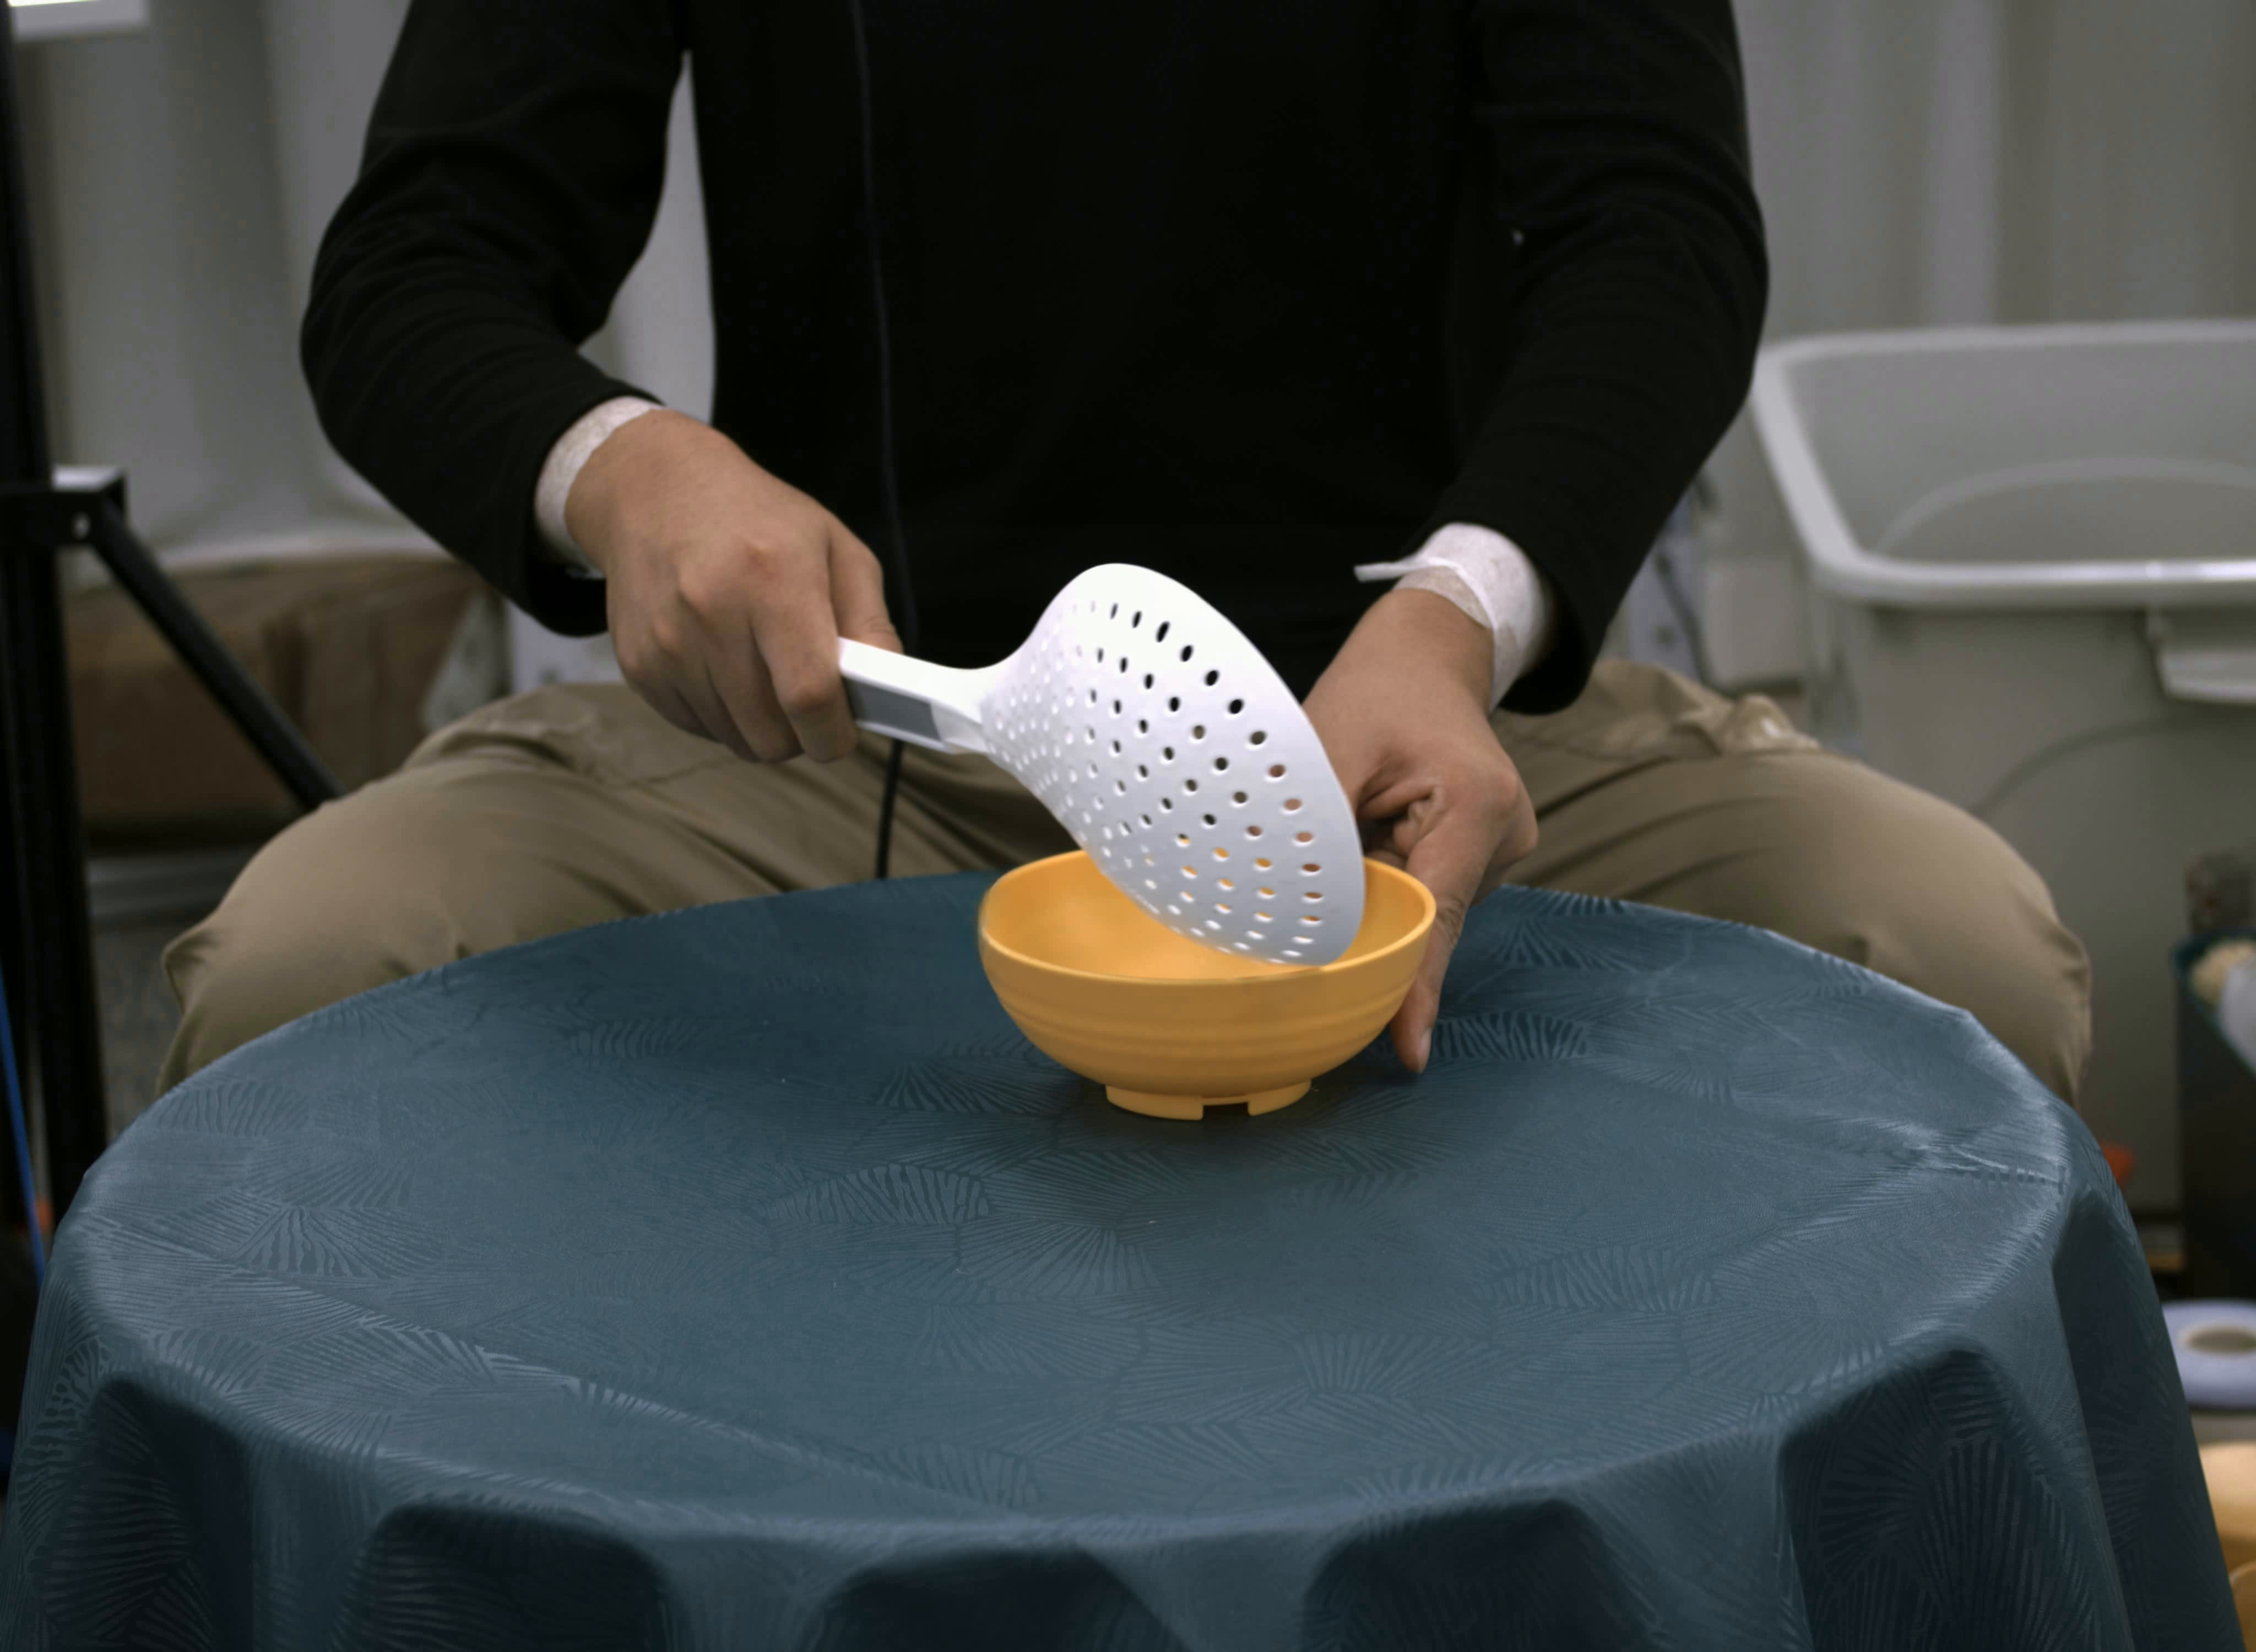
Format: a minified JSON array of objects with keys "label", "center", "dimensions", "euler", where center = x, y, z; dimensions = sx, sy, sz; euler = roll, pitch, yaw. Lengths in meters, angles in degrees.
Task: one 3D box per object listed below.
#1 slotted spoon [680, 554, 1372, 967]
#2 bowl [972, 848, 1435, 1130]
[{"label":"slotted spoon","center":[-0.042,-0.034,1.650],"dimensions":[0.045,0.135,0.357],"euler":[-29,25,-23]},{"label":"bowl","center":[0.022,0.055,1.642],"dimensions":[0.144,0.060,0.146],"euler":[1,17,-2]}]
